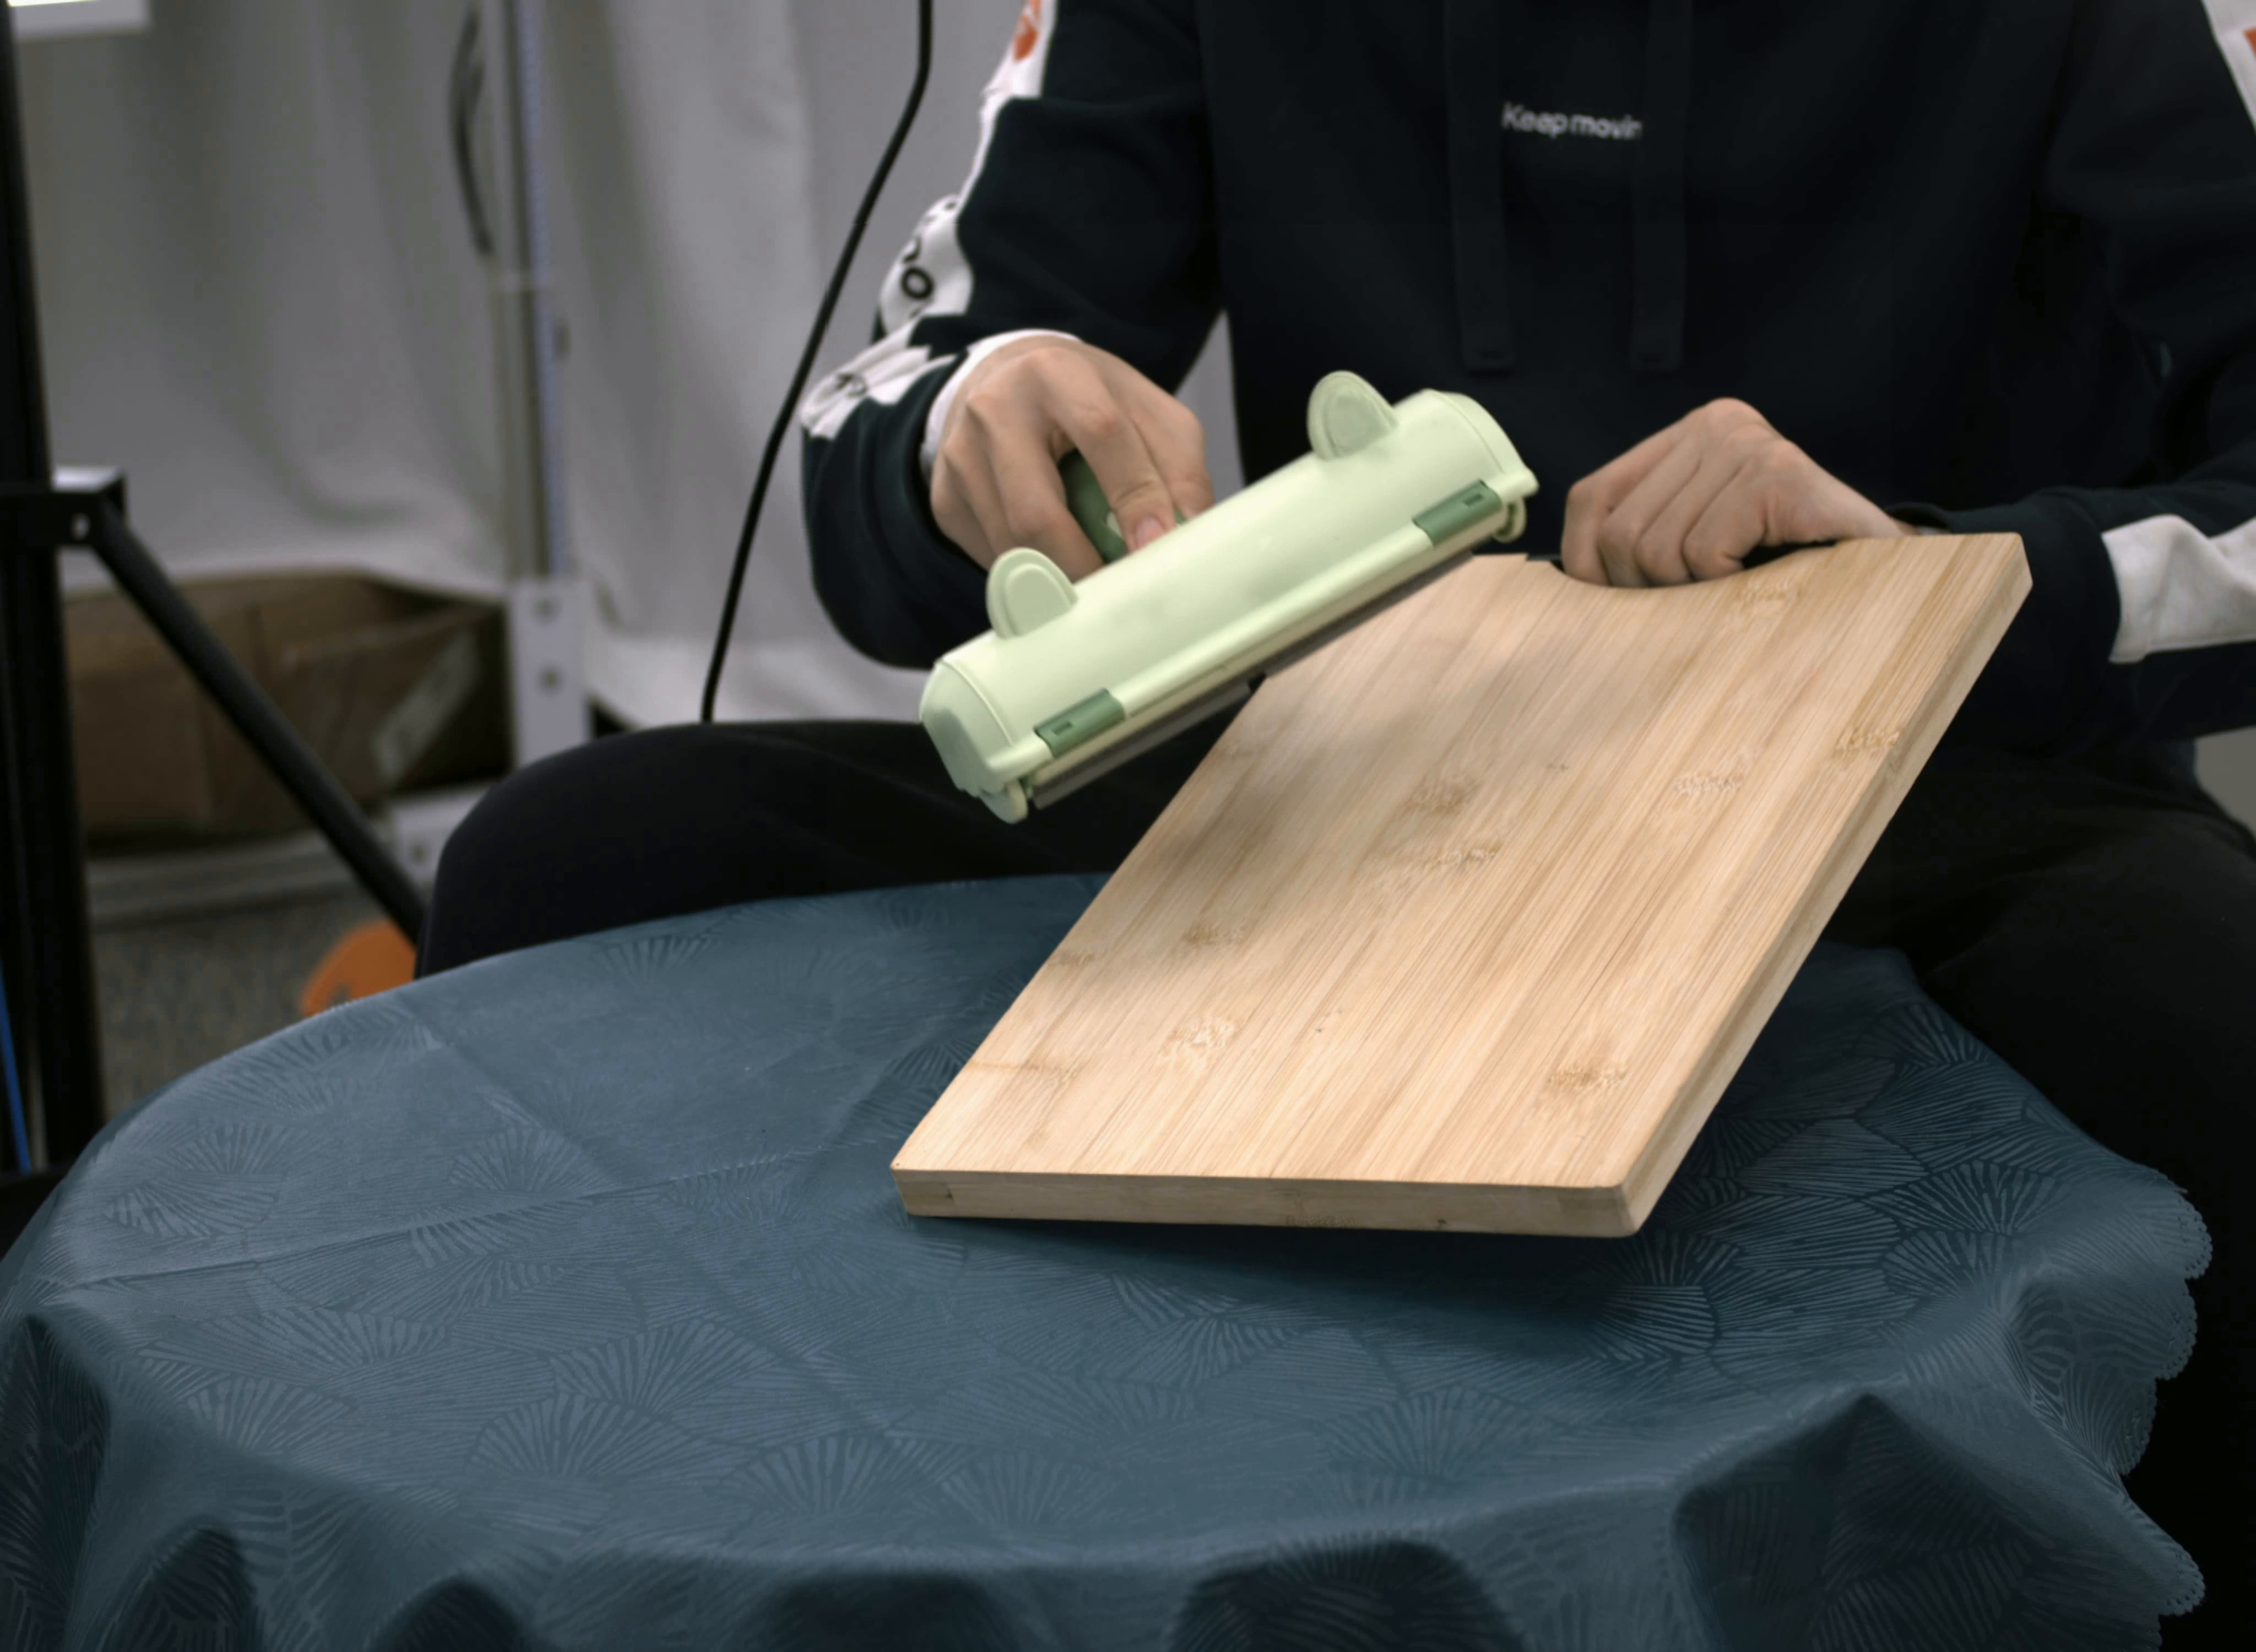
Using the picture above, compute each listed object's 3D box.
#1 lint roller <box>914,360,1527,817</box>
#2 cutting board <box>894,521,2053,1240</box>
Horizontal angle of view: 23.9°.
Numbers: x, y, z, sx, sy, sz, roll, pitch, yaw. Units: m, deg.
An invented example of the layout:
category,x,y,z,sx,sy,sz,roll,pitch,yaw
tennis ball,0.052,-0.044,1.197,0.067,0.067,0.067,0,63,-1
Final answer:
category,x,y,z,sx,sy,sz,roll,pitch,yaw
lint roller,0.000,-0.101,1.663,0.197,0.081,0.187,-30,38,-13
cutting board,0.110,0.010,1.601,0.255,0.023,0.346,-1,34,32
